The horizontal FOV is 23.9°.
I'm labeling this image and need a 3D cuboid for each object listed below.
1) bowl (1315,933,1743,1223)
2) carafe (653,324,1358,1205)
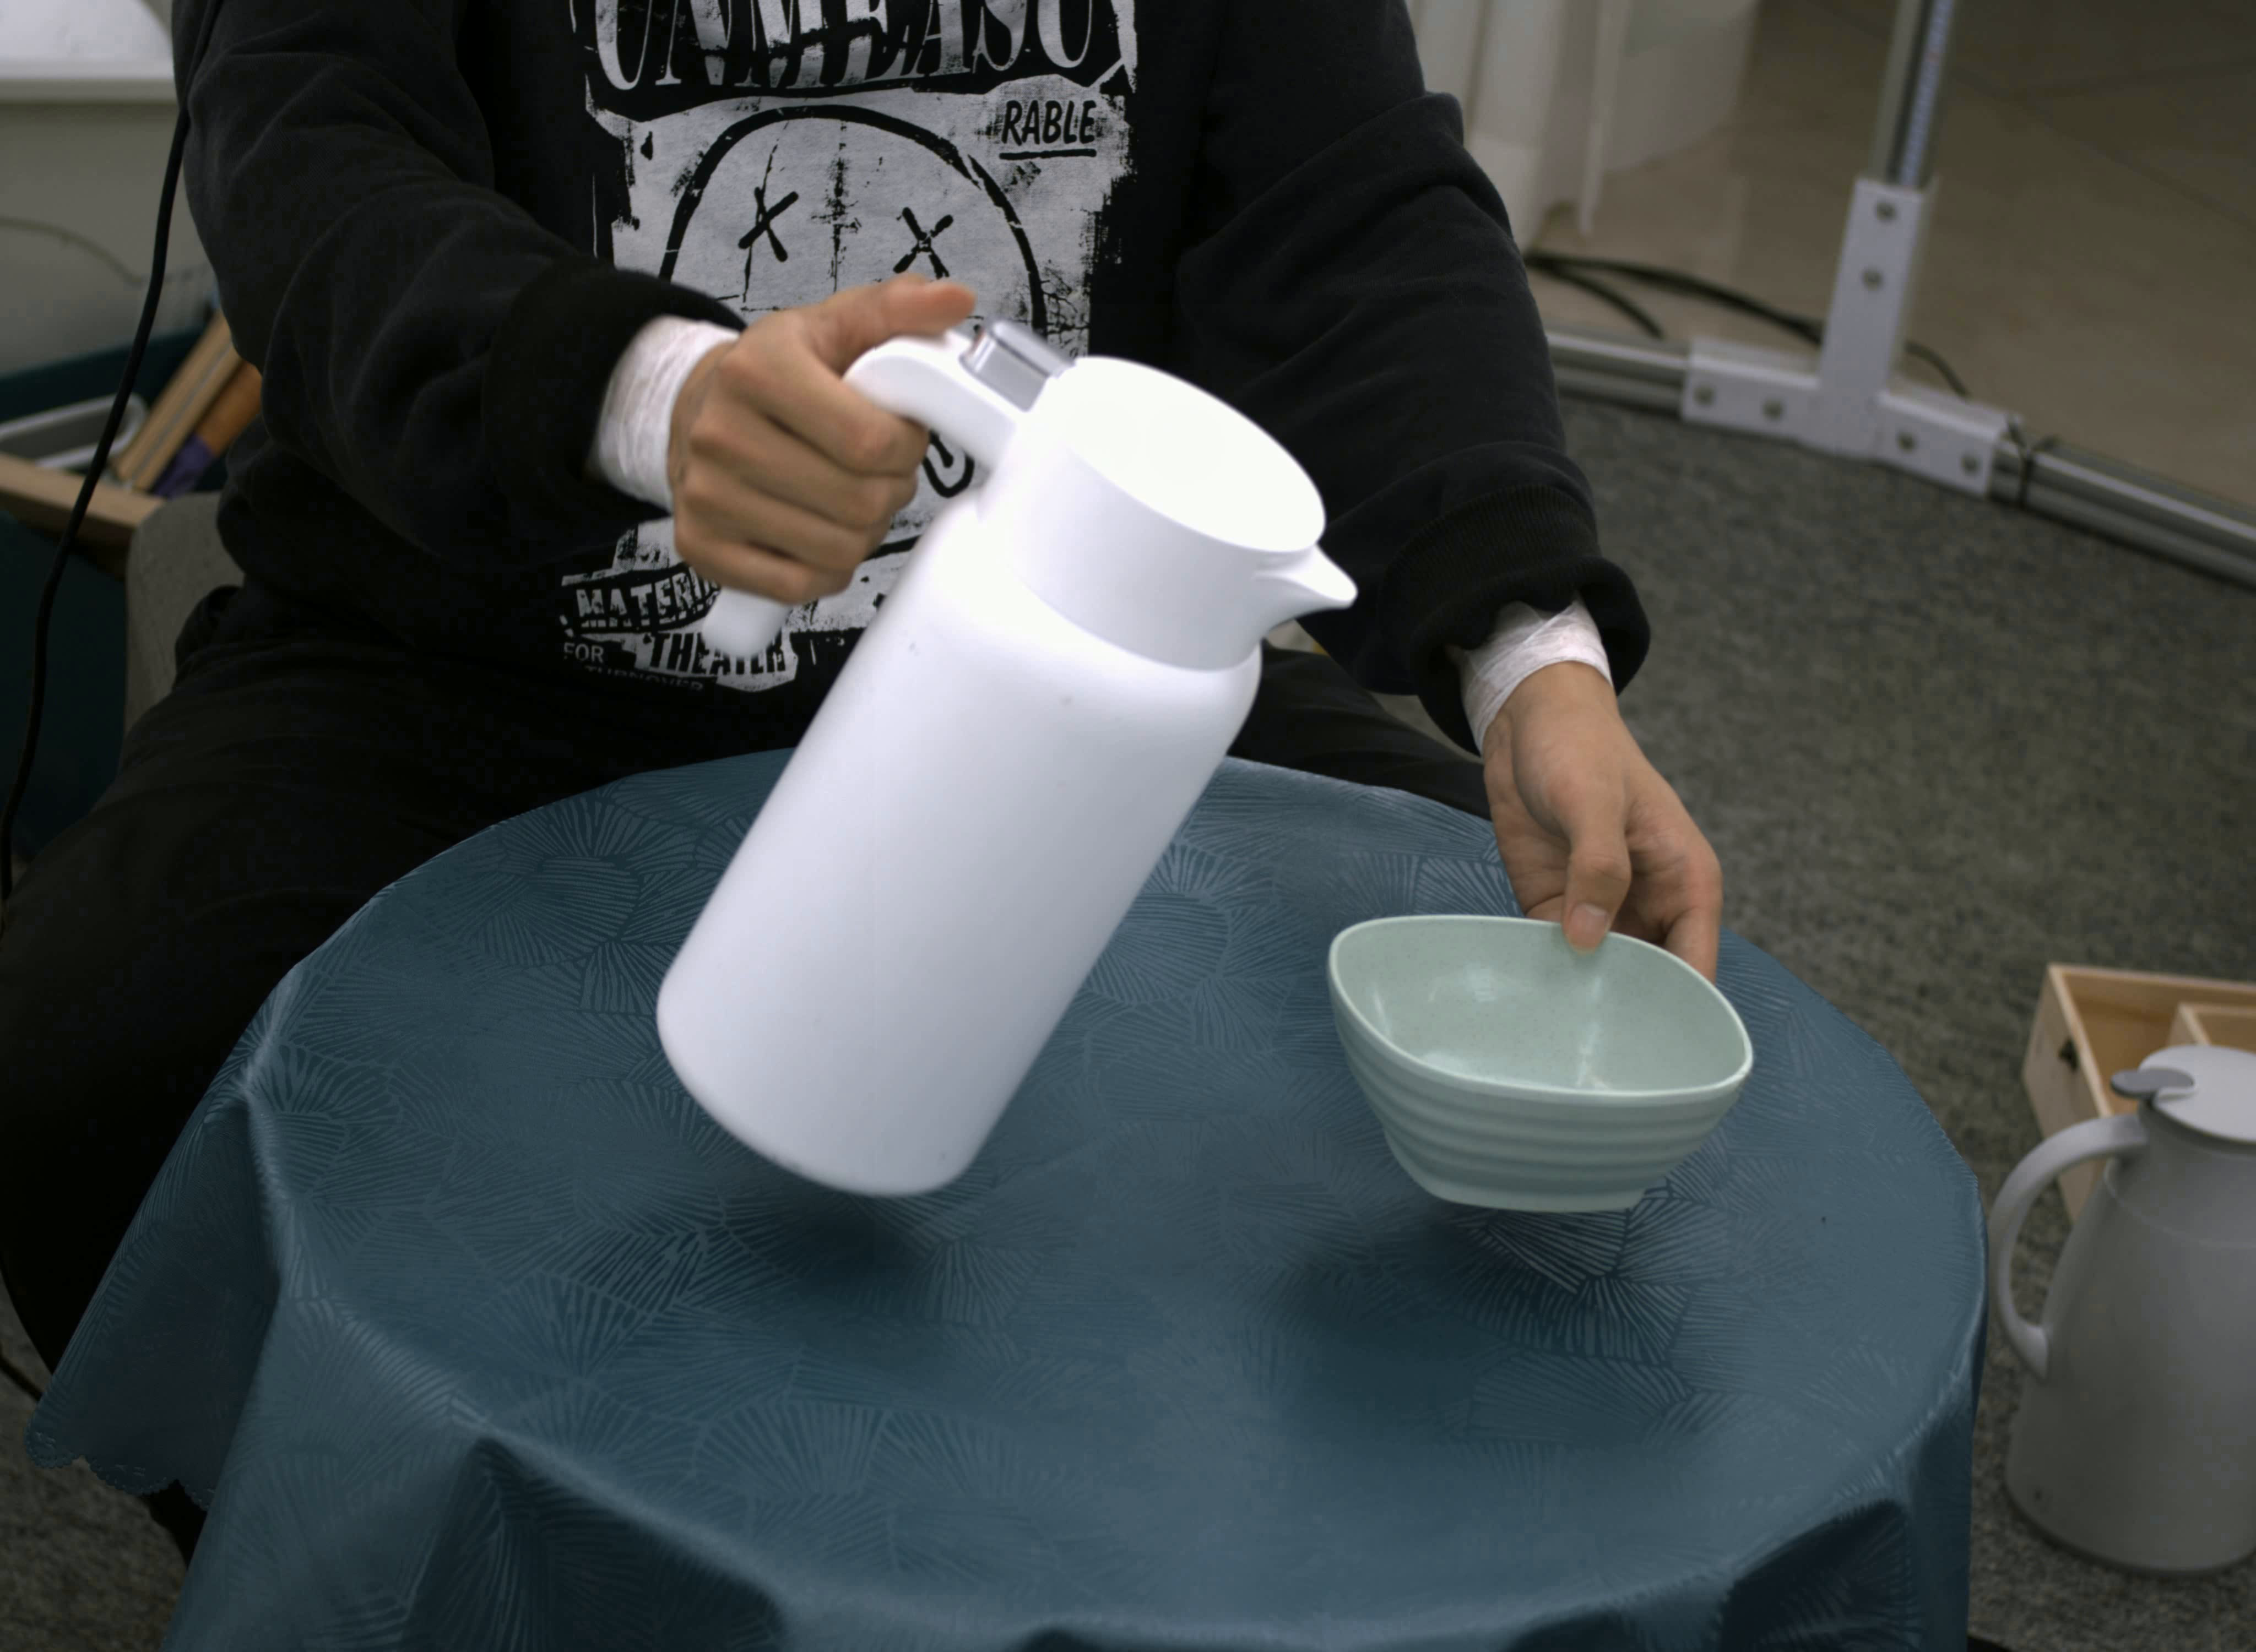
[{"bbox_3d":[0.129,0.089,1.770,0.151,0.058,0.152,6,20,-3],"label":"bowl"},{"bbox_3d":[-0.060,-0.022,1.685,0.173,0.268,0.124,34,28,7],"label":"carafe"}]
